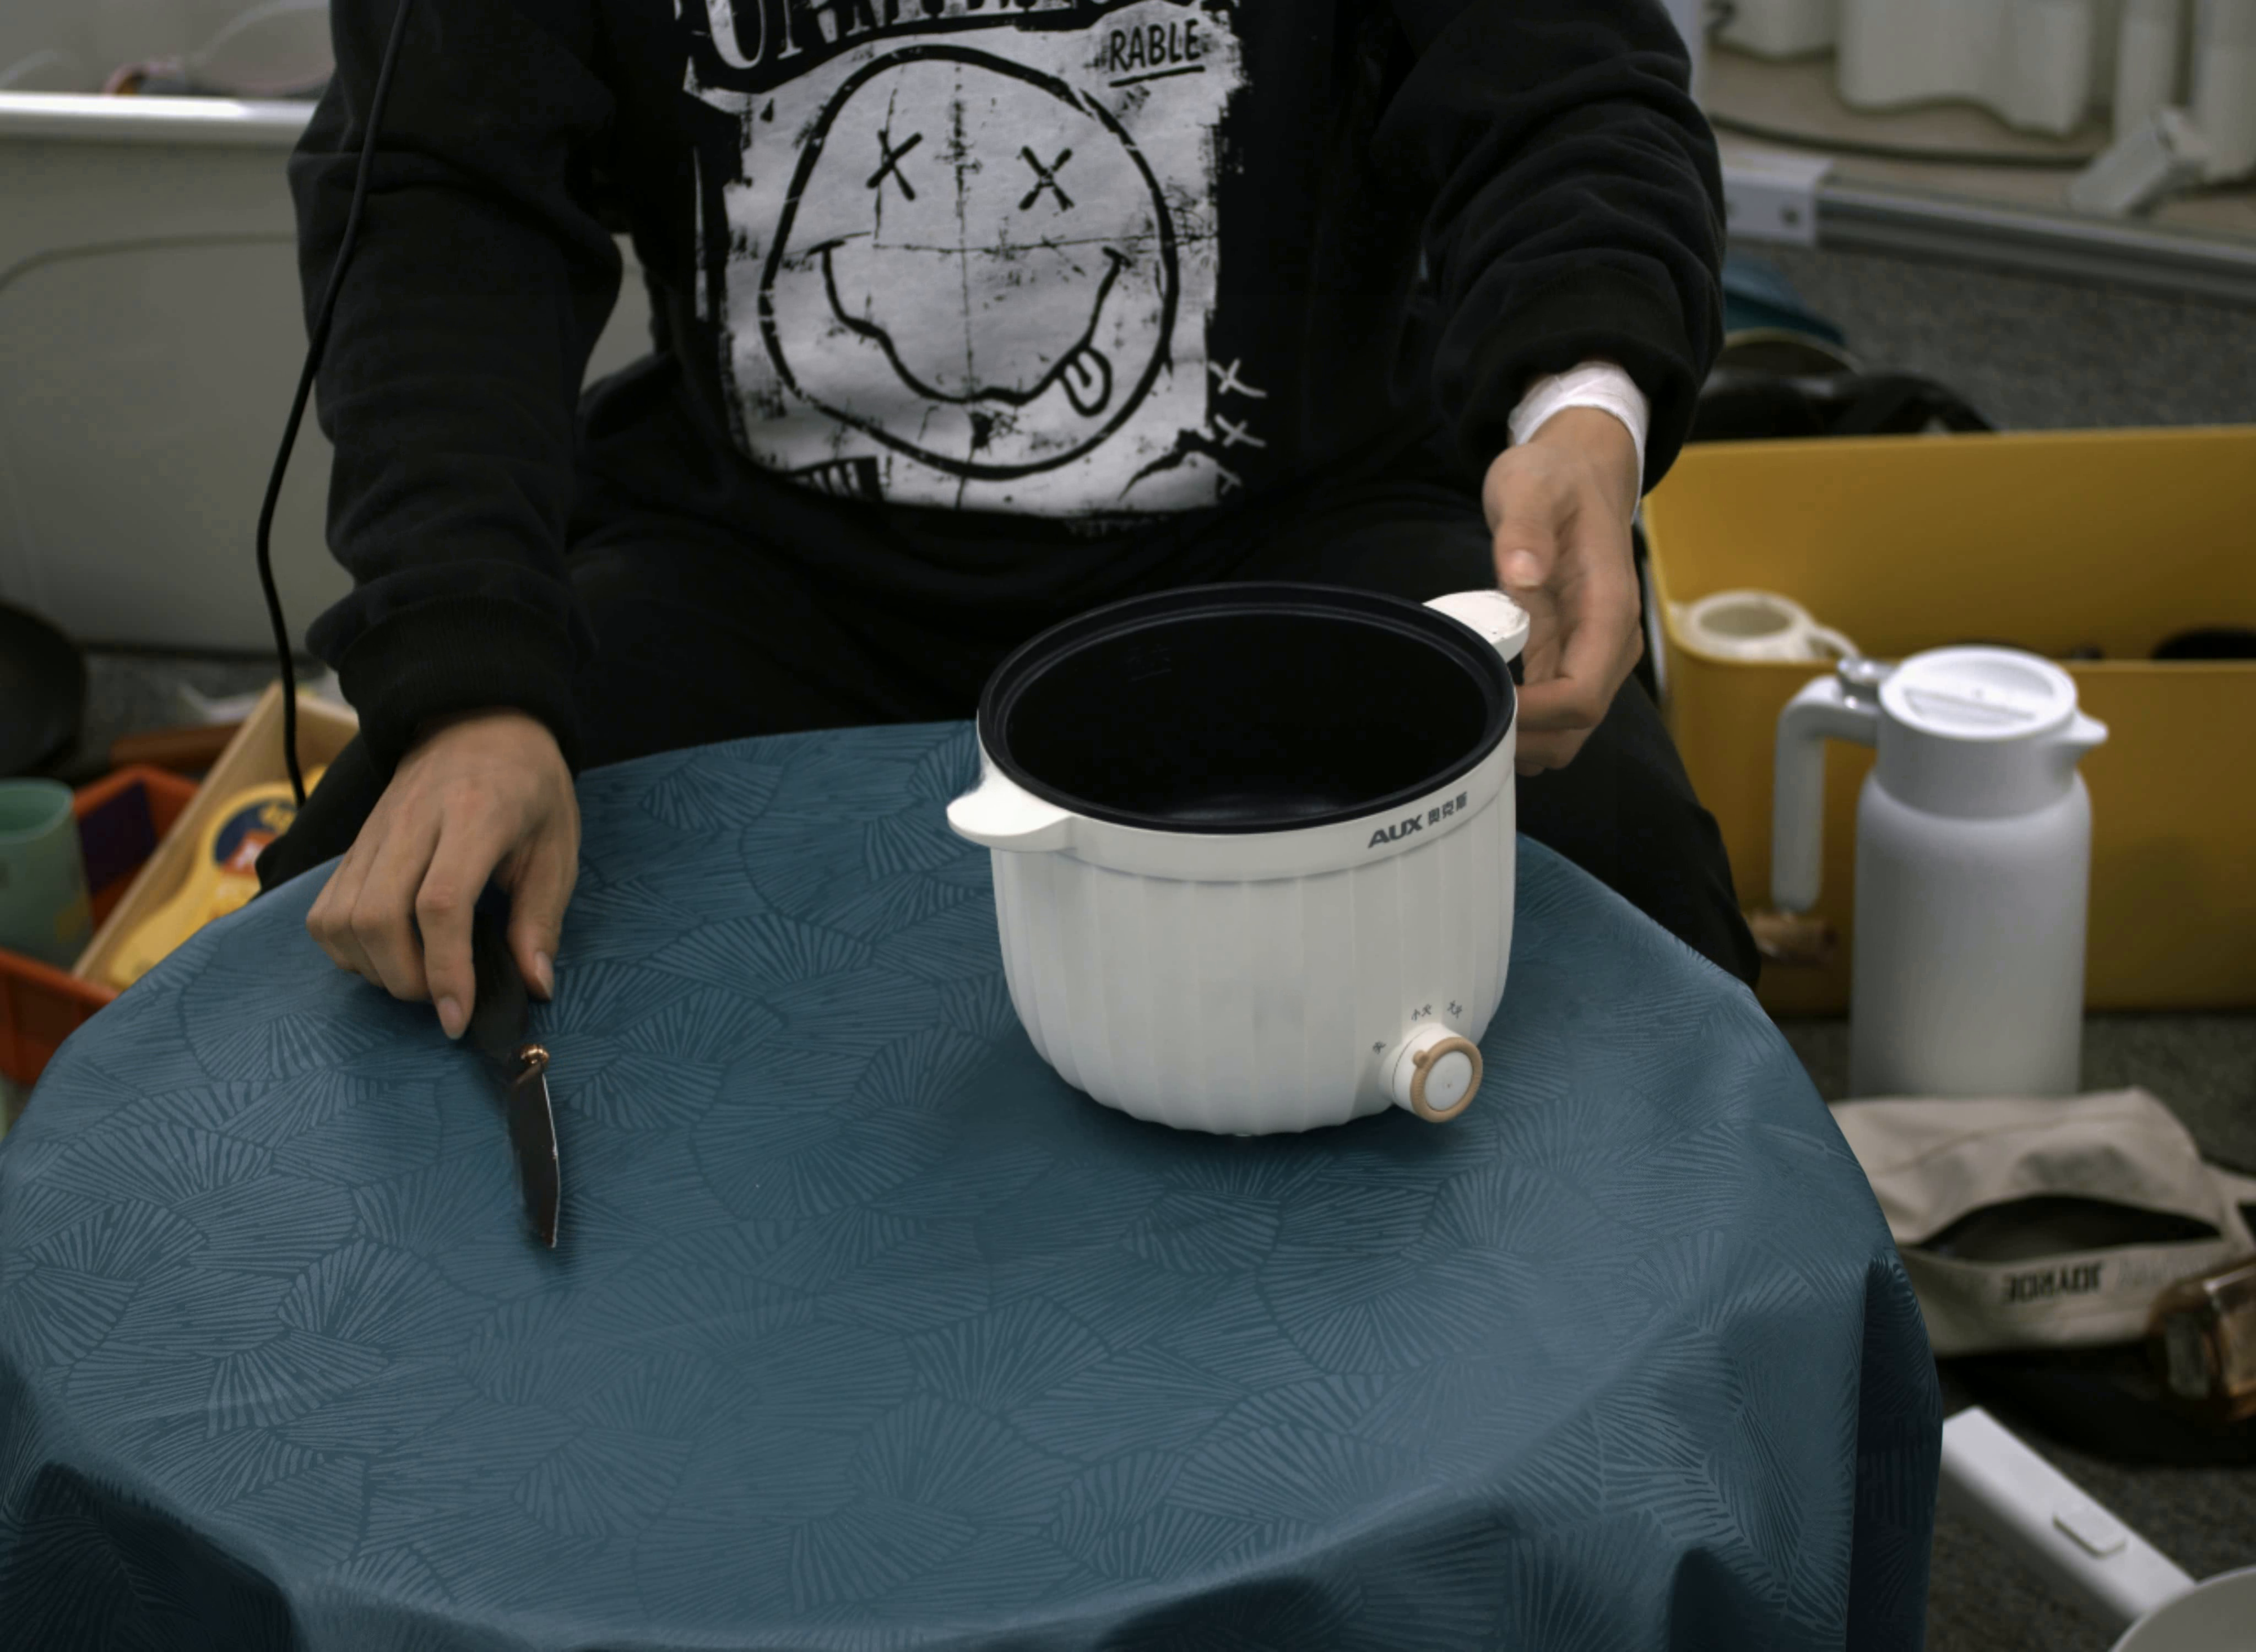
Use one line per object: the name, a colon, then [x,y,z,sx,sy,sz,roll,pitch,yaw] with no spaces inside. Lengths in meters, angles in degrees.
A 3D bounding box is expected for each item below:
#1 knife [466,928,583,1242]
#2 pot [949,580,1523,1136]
knife: [-0.208,0.089,1.923,0.026,0.017,0.228,-24,28,-1]
pot: [0.047,0.016,1.908,0.243,0.141,0.190,-24,30,-32]
